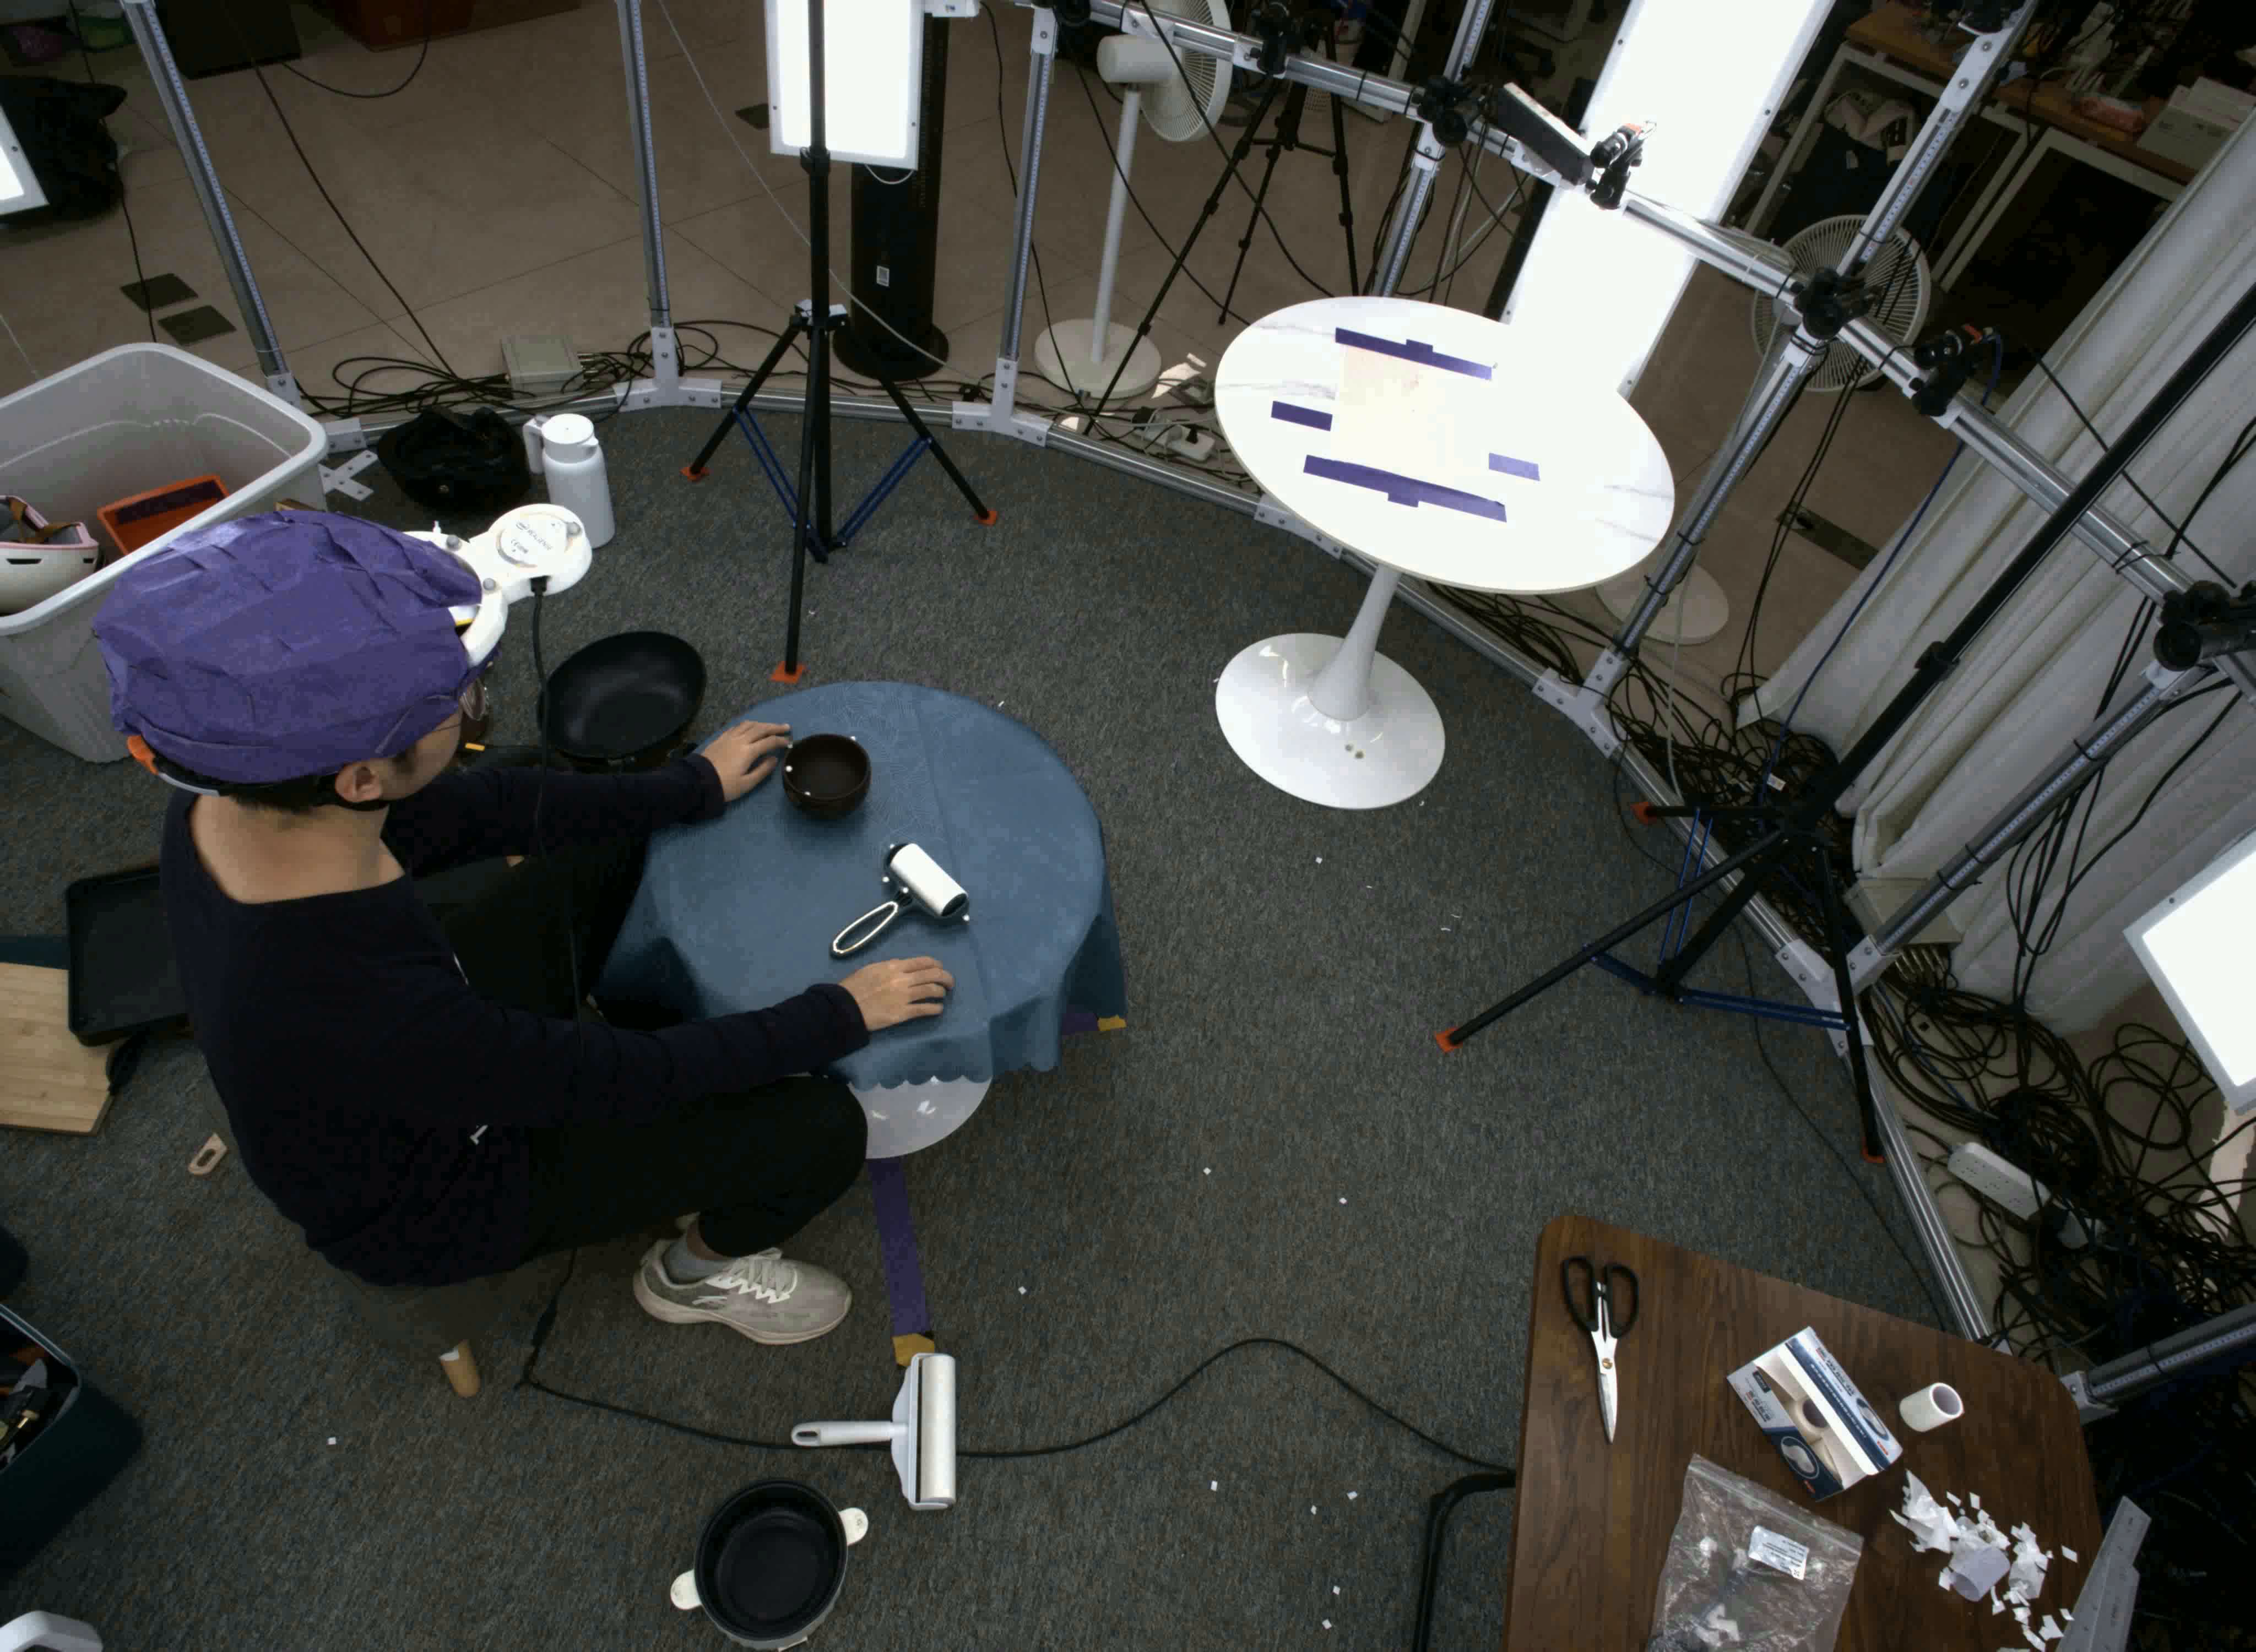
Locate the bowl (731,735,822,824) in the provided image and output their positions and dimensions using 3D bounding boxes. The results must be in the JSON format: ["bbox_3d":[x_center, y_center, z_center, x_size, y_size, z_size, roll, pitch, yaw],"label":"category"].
[{"bbox_3d":[-0.465,-0.055,1.718,0.118,0.071,0.116,7,55,-8],"label":"bowl"}]

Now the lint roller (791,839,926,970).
[{"bbox_3d":[-0.358,0.111,1.644,0.131,0.049,0.180,39,57,16],"label":"lint roller"}]
